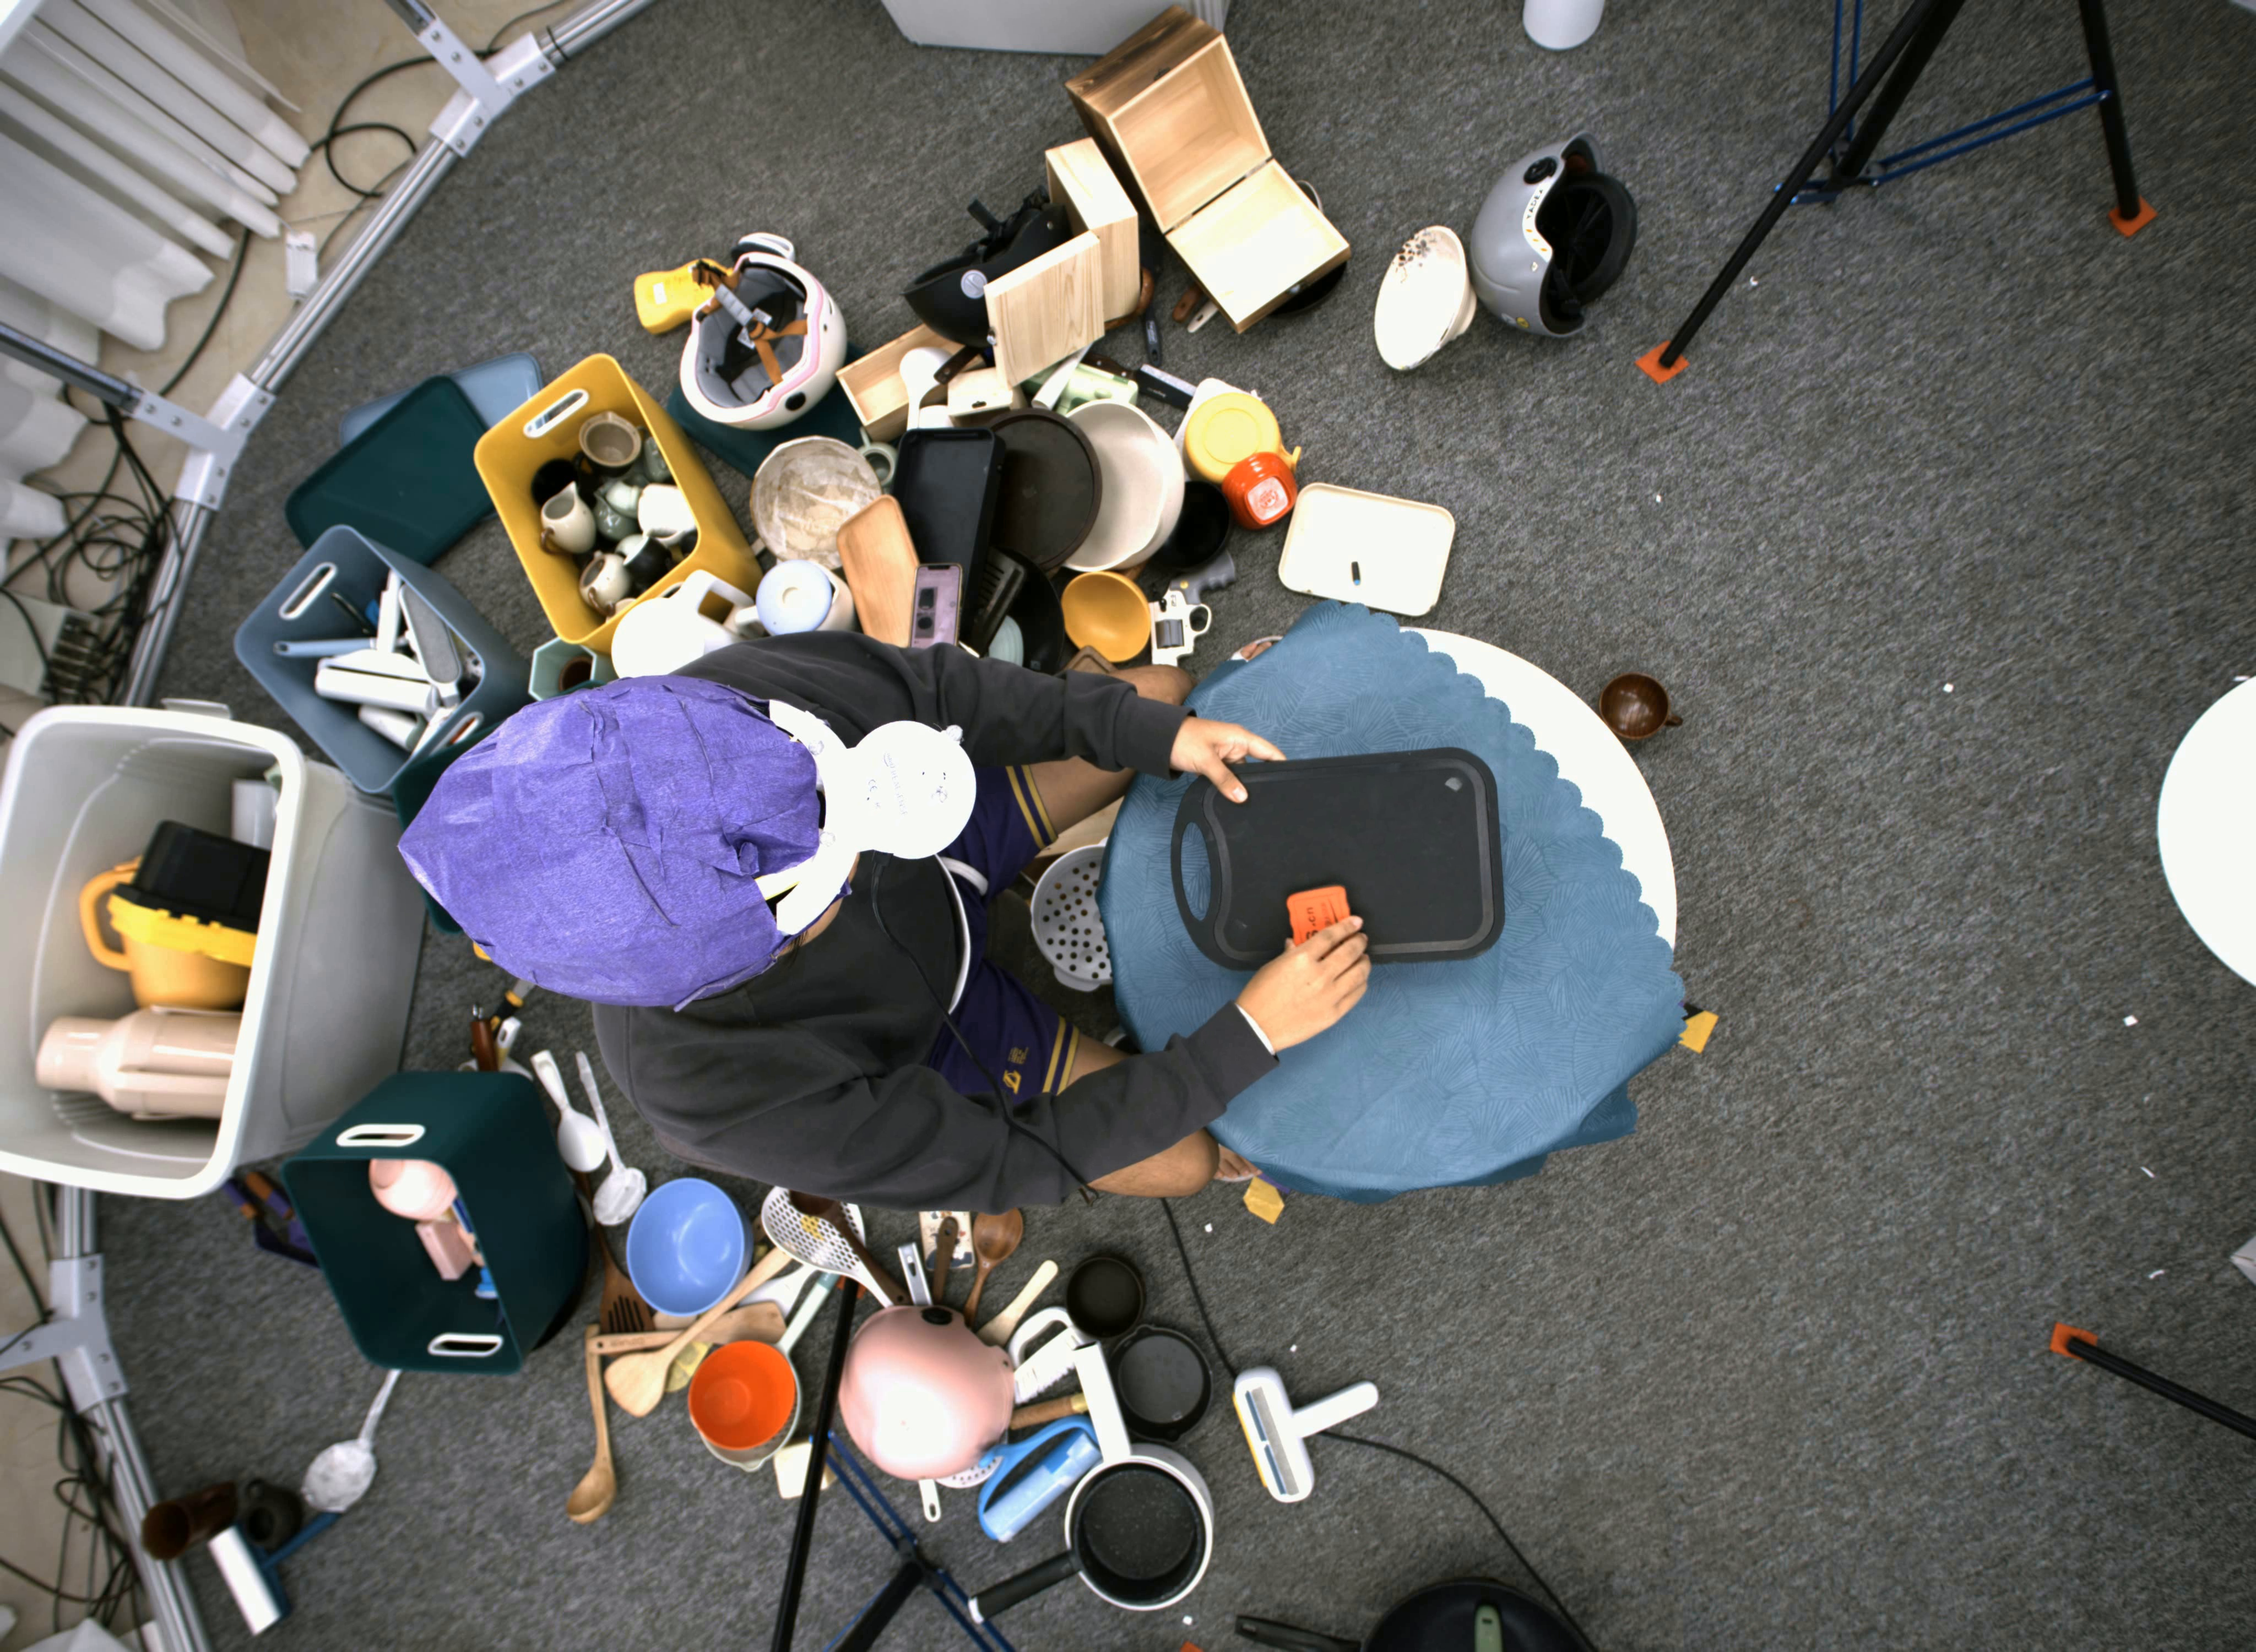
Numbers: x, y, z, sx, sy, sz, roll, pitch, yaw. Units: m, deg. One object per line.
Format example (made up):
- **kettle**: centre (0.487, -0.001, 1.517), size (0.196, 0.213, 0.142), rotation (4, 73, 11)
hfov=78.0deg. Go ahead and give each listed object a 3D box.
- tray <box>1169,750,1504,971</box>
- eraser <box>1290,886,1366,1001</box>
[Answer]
- **tray**: centre (0.200, 0.037, 1.357), size (0.327, 0.009, 0.212), rotation (-3, 100, 13)
- **eraser**: centre (0.197, 0.114, 1.359), size (0.059, 0.022, 0.108), rotation (-11, 96, 14)
